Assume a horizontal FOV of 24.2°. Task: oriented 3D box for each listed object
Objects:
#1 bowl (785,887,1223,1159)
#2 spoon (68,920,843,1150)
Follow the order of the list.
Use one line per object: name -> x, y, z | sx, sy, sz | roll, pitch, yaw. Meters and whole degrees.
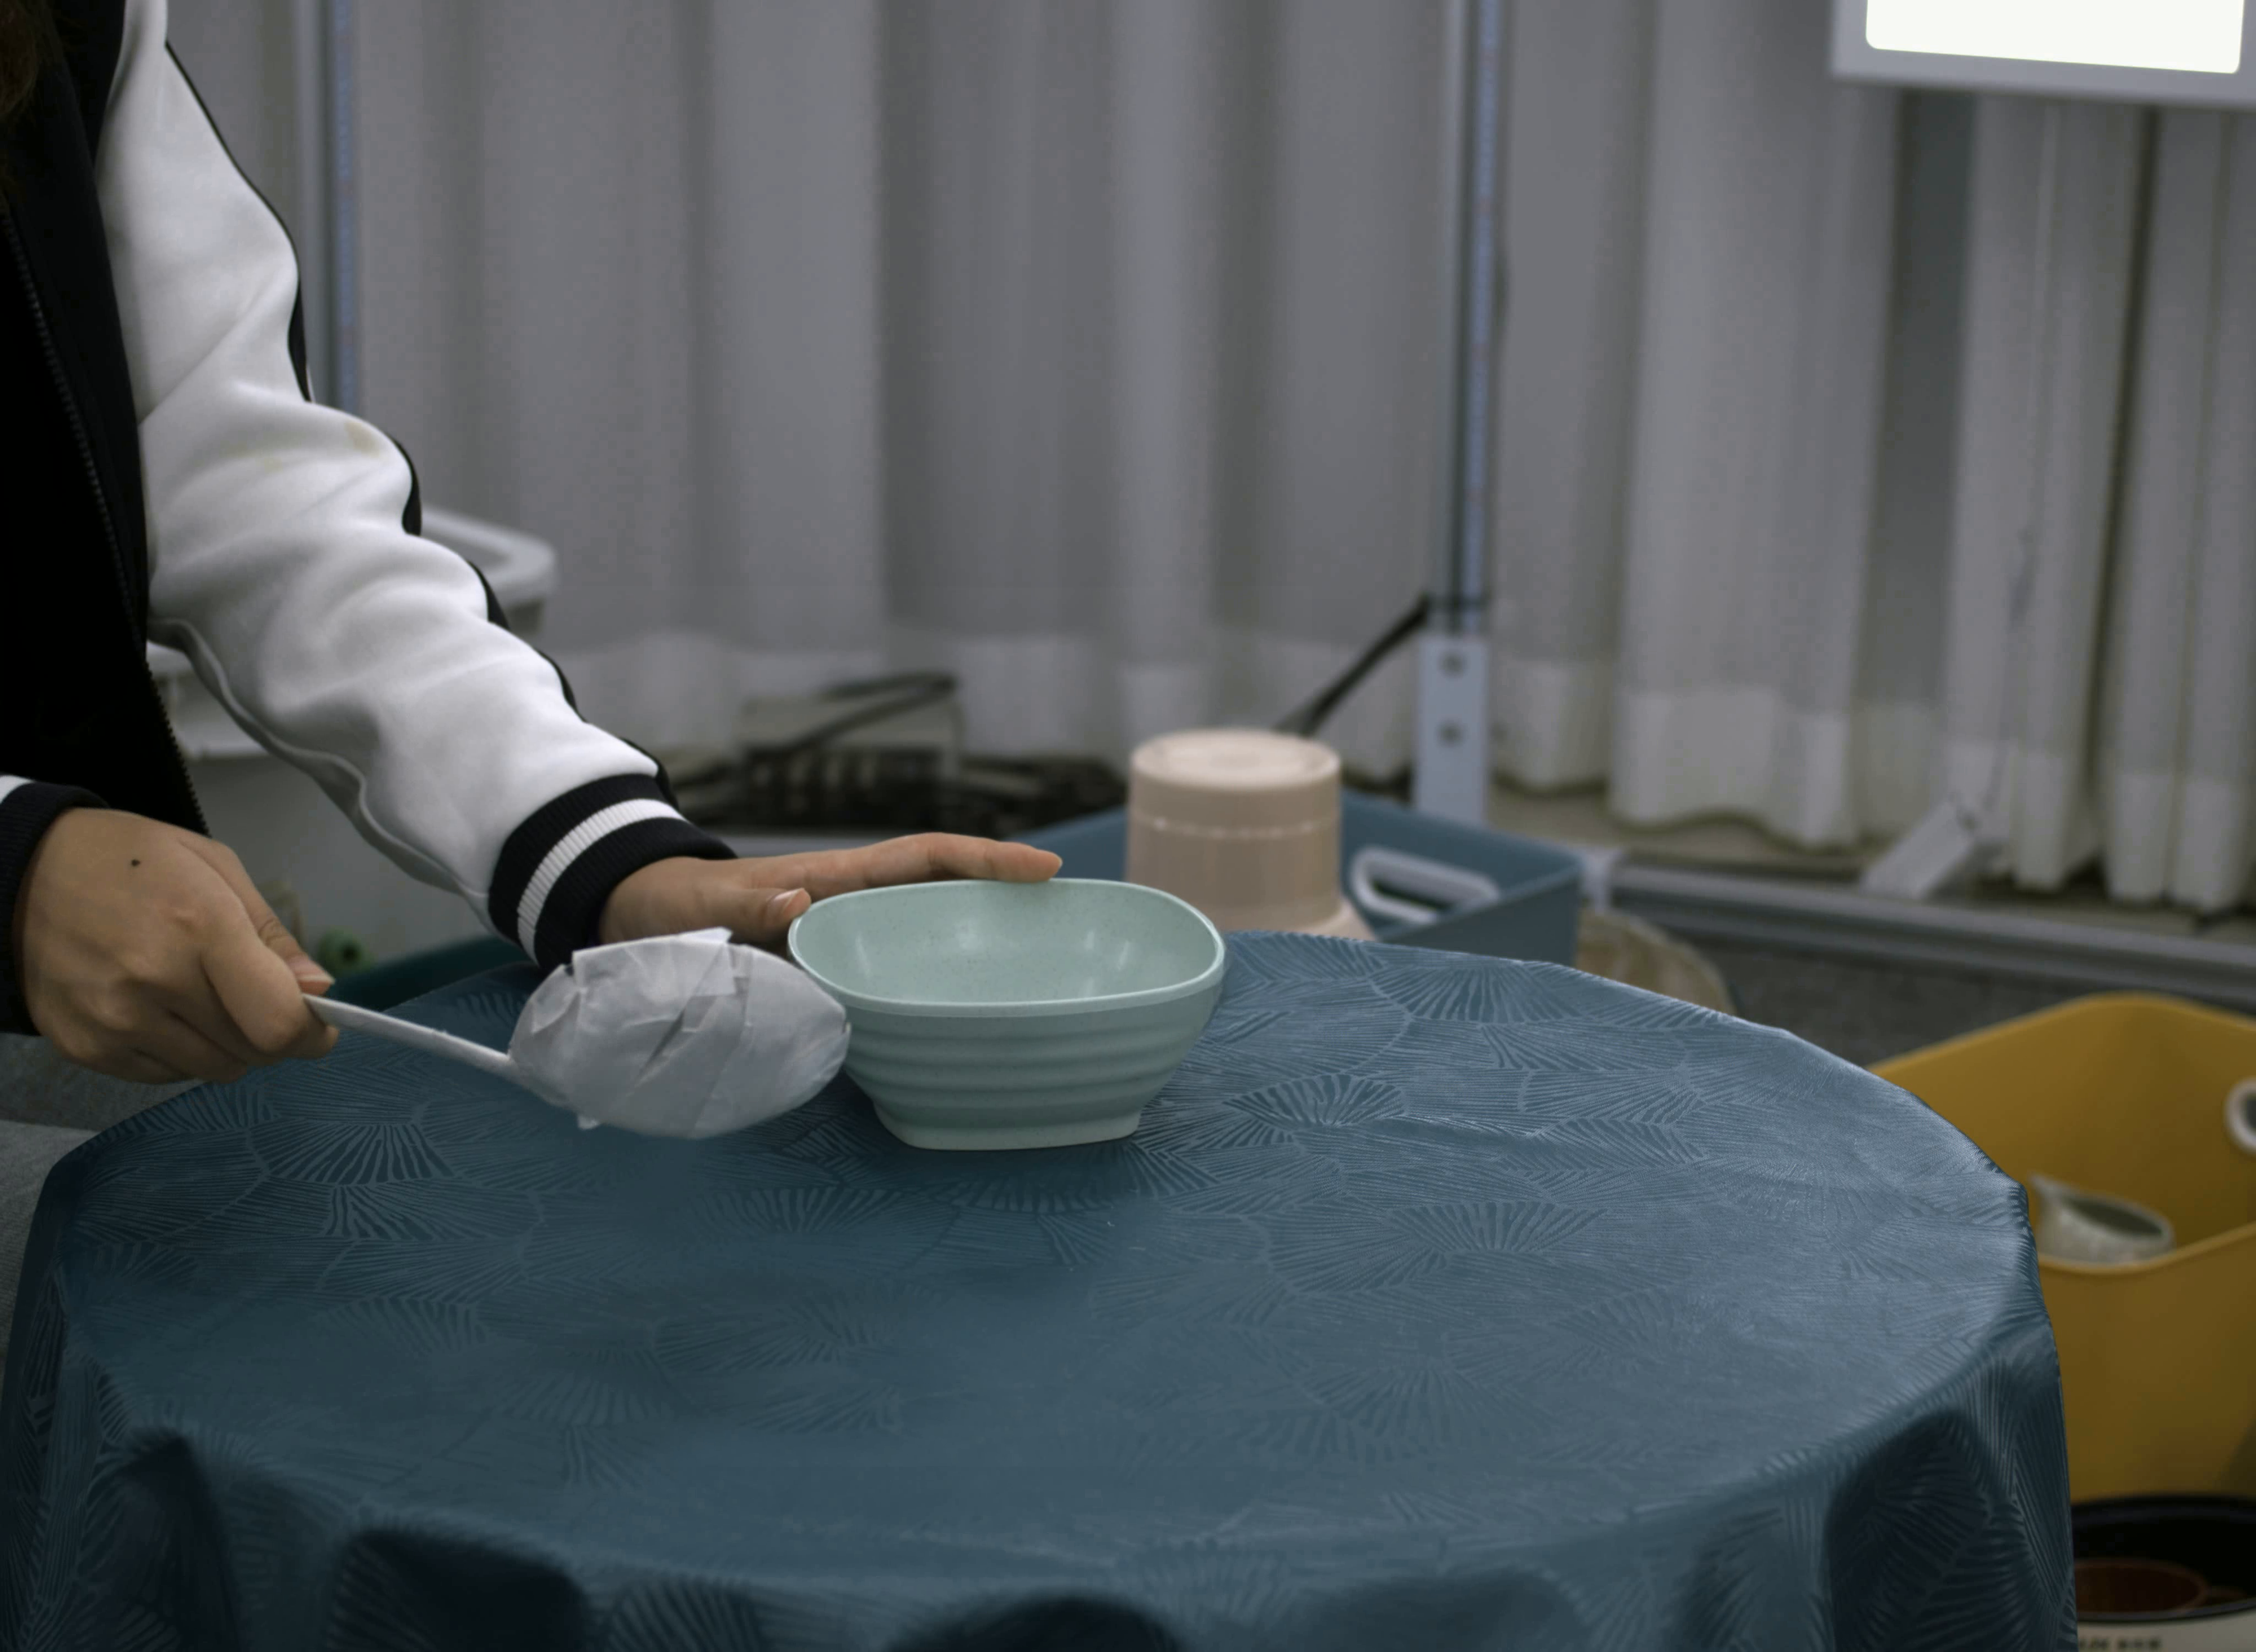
bowl -> -0.040, 0.066, 1.689 | 0.151, 0.059, 0.150 | 1, 15, 0
spoon -> -0.201, 0.045, 1.539 | 0.274, 0.102, 0.059 | 13, 56, 38
